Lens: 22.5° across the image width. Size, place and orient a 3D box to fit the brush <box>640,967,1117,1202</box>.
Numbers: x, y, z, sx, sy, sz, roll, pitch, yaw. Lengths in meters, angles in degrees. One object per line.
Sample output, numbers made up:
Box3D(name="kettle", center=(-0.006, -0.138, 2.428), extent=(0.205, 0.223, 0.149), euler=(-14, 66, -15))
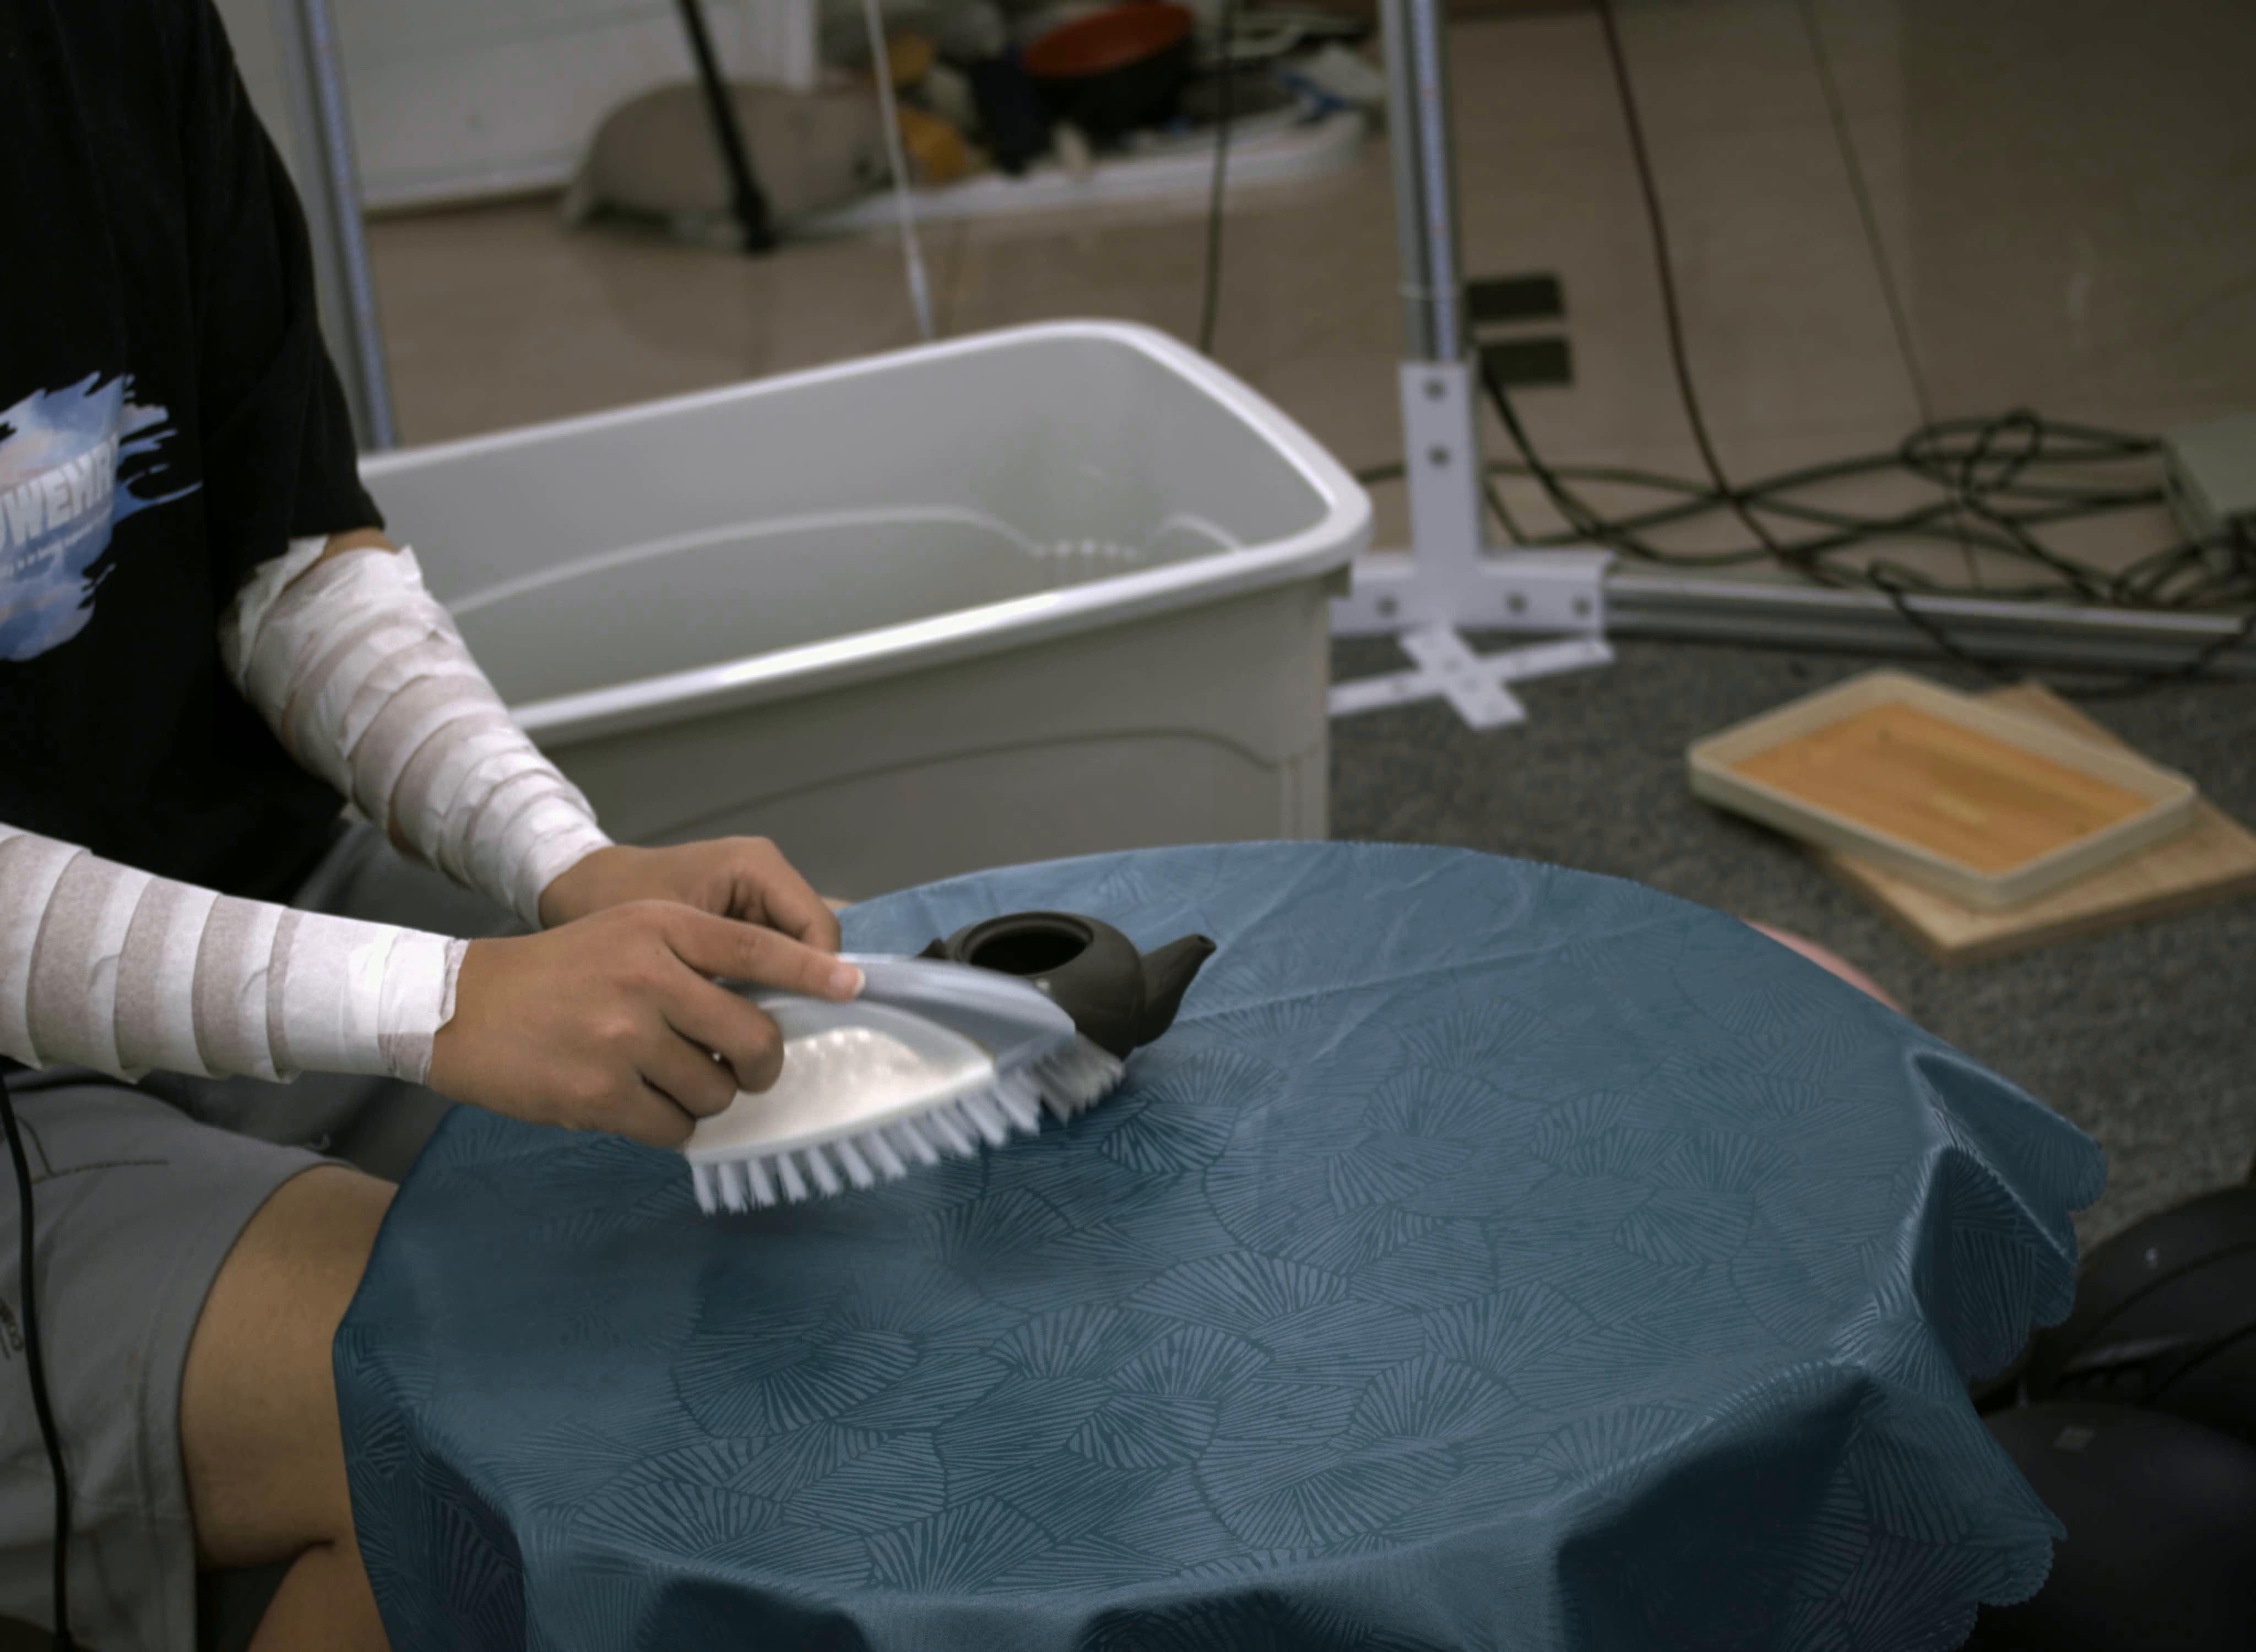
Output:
Box3D(name="brush", center=(-0.099, 0.085, 2.098), extent=(0.175, 0.096, 0.060), euler=(-8, 48, 23))

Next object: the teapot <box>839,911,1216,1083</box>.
Box3D(name="teapot", center=(-0.041, 0.070, 2.229), extent=(0.154, 0.065, 0.091), euler=(-4, 25, 2))
